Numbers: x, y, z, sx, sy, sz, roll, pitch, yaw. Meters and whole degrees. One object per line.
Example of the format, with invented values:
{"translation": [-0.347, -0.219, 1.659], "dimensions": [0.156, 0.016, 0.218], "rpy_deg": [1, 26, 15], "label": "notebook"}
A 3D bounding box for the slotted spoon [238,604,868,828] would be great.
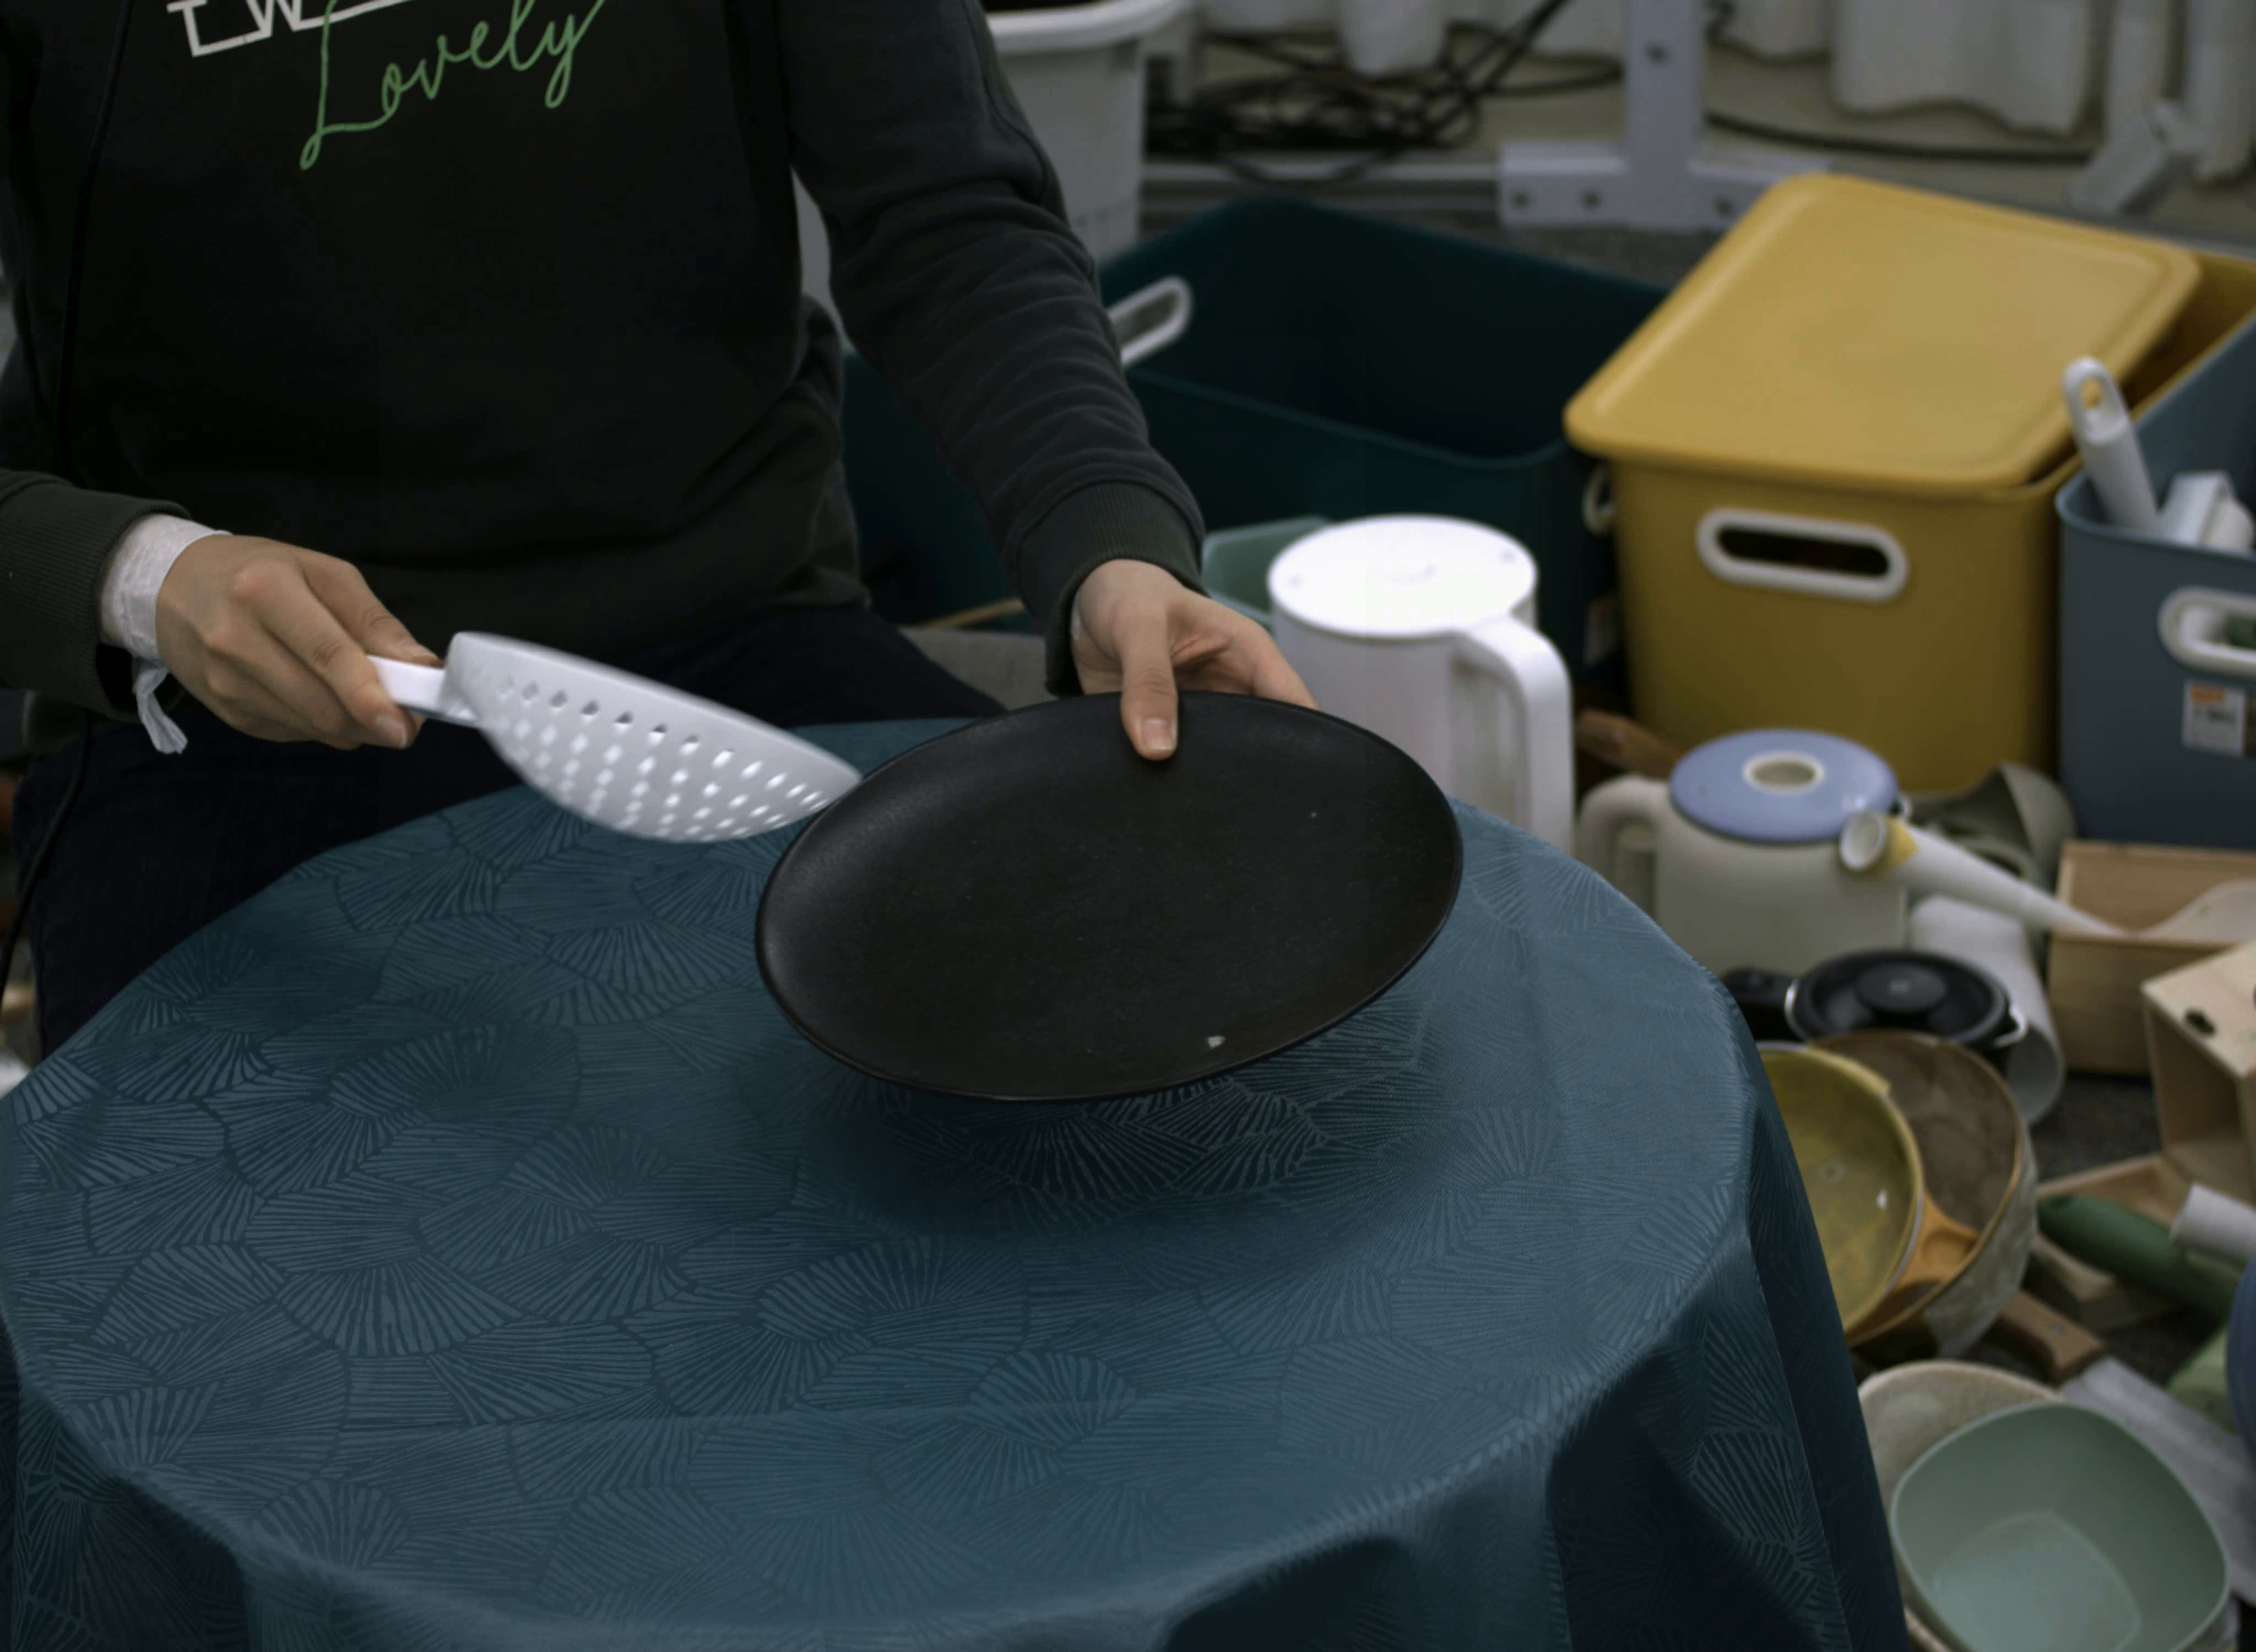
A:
{"translation": [-0.209, -0.044, 1.861], "dimensions": [0.135, 0.046, 0.348], "rpy_deg": [27, -6, -34], "label": "slotted spoon"}

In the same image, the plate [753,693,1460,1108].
{"translation": [-0.006, 0.028, 1.911], "dimensions": [0.243, 0.023, 0.248], "rpy_deg": [-6, 32, 4], "label": "plate"}
